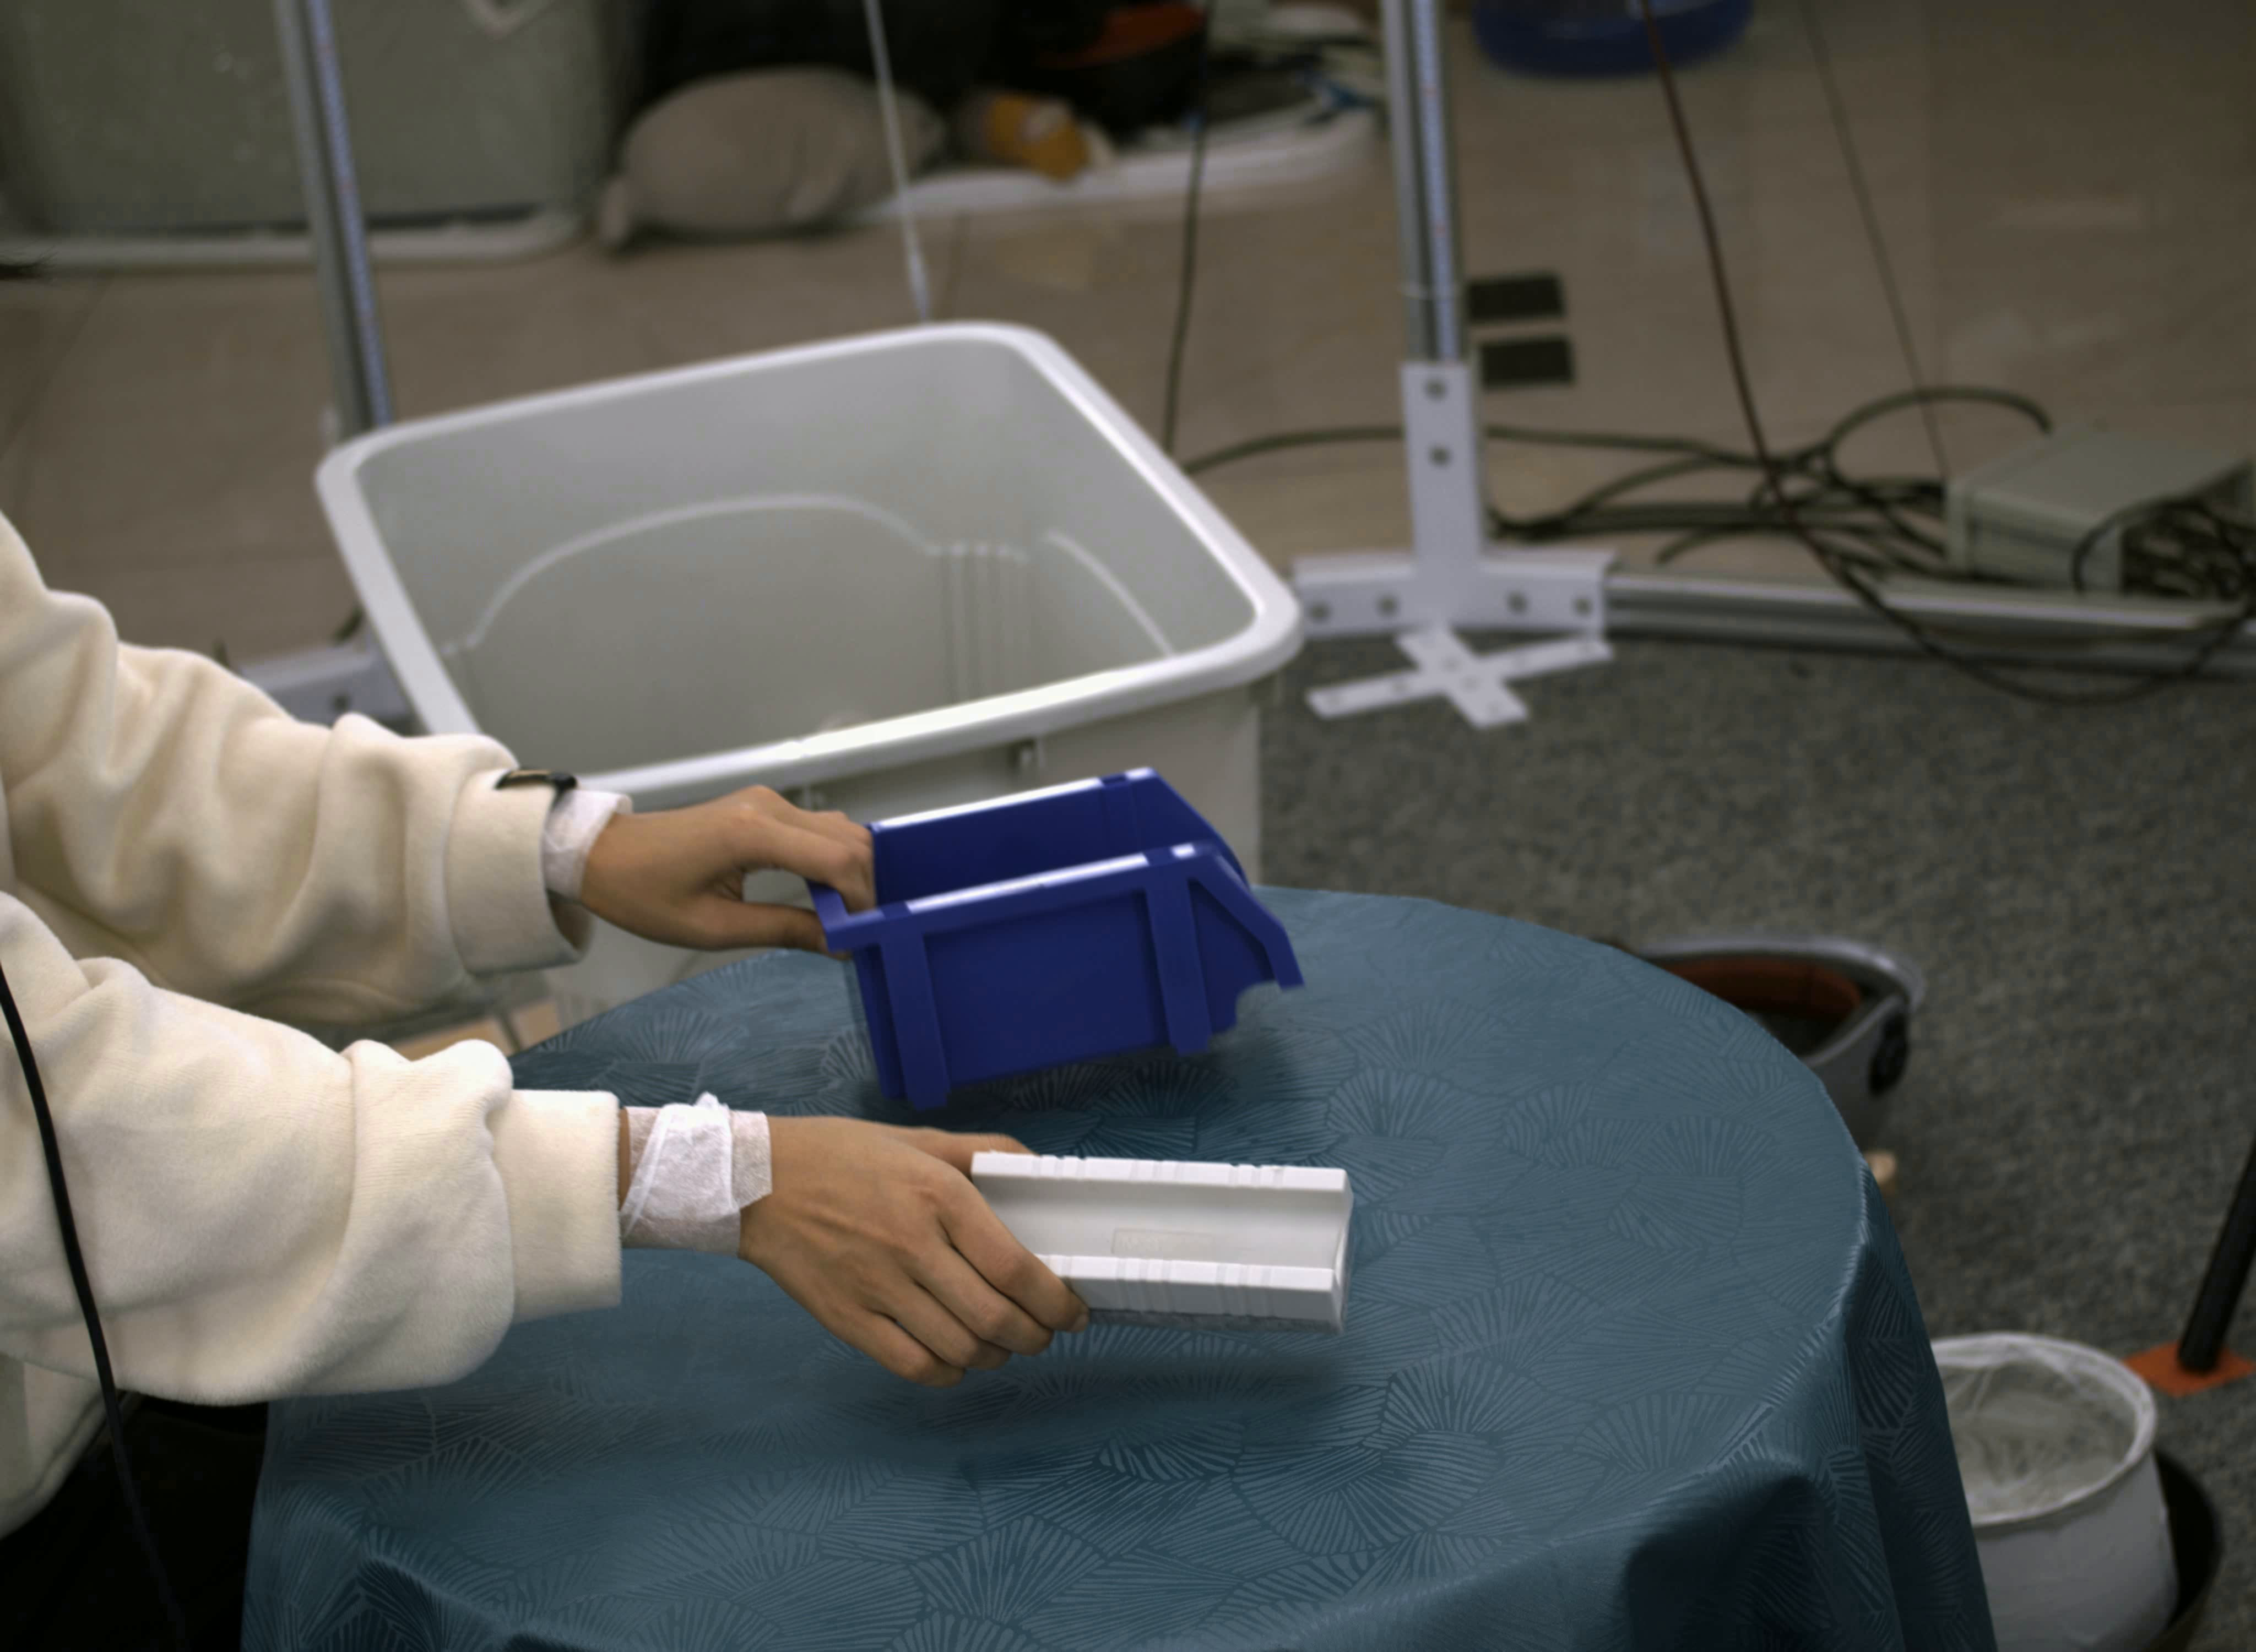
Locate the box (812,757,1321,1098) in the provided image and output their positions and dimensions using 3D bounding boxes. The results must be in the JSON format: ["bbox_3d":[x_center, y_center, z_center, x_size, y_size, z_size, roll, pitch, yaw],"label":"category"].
[{"bbox_3d":[-0.024,0.036,2.226,0.179,0.083,0.123,-13,18,-4],"label":"box"}]

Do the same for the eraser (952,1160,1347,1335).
[{"bbox_3d":[0.009,0.148,1.996,0.134,0.047,0.049,0,64,9],"label":"eraser"}]
